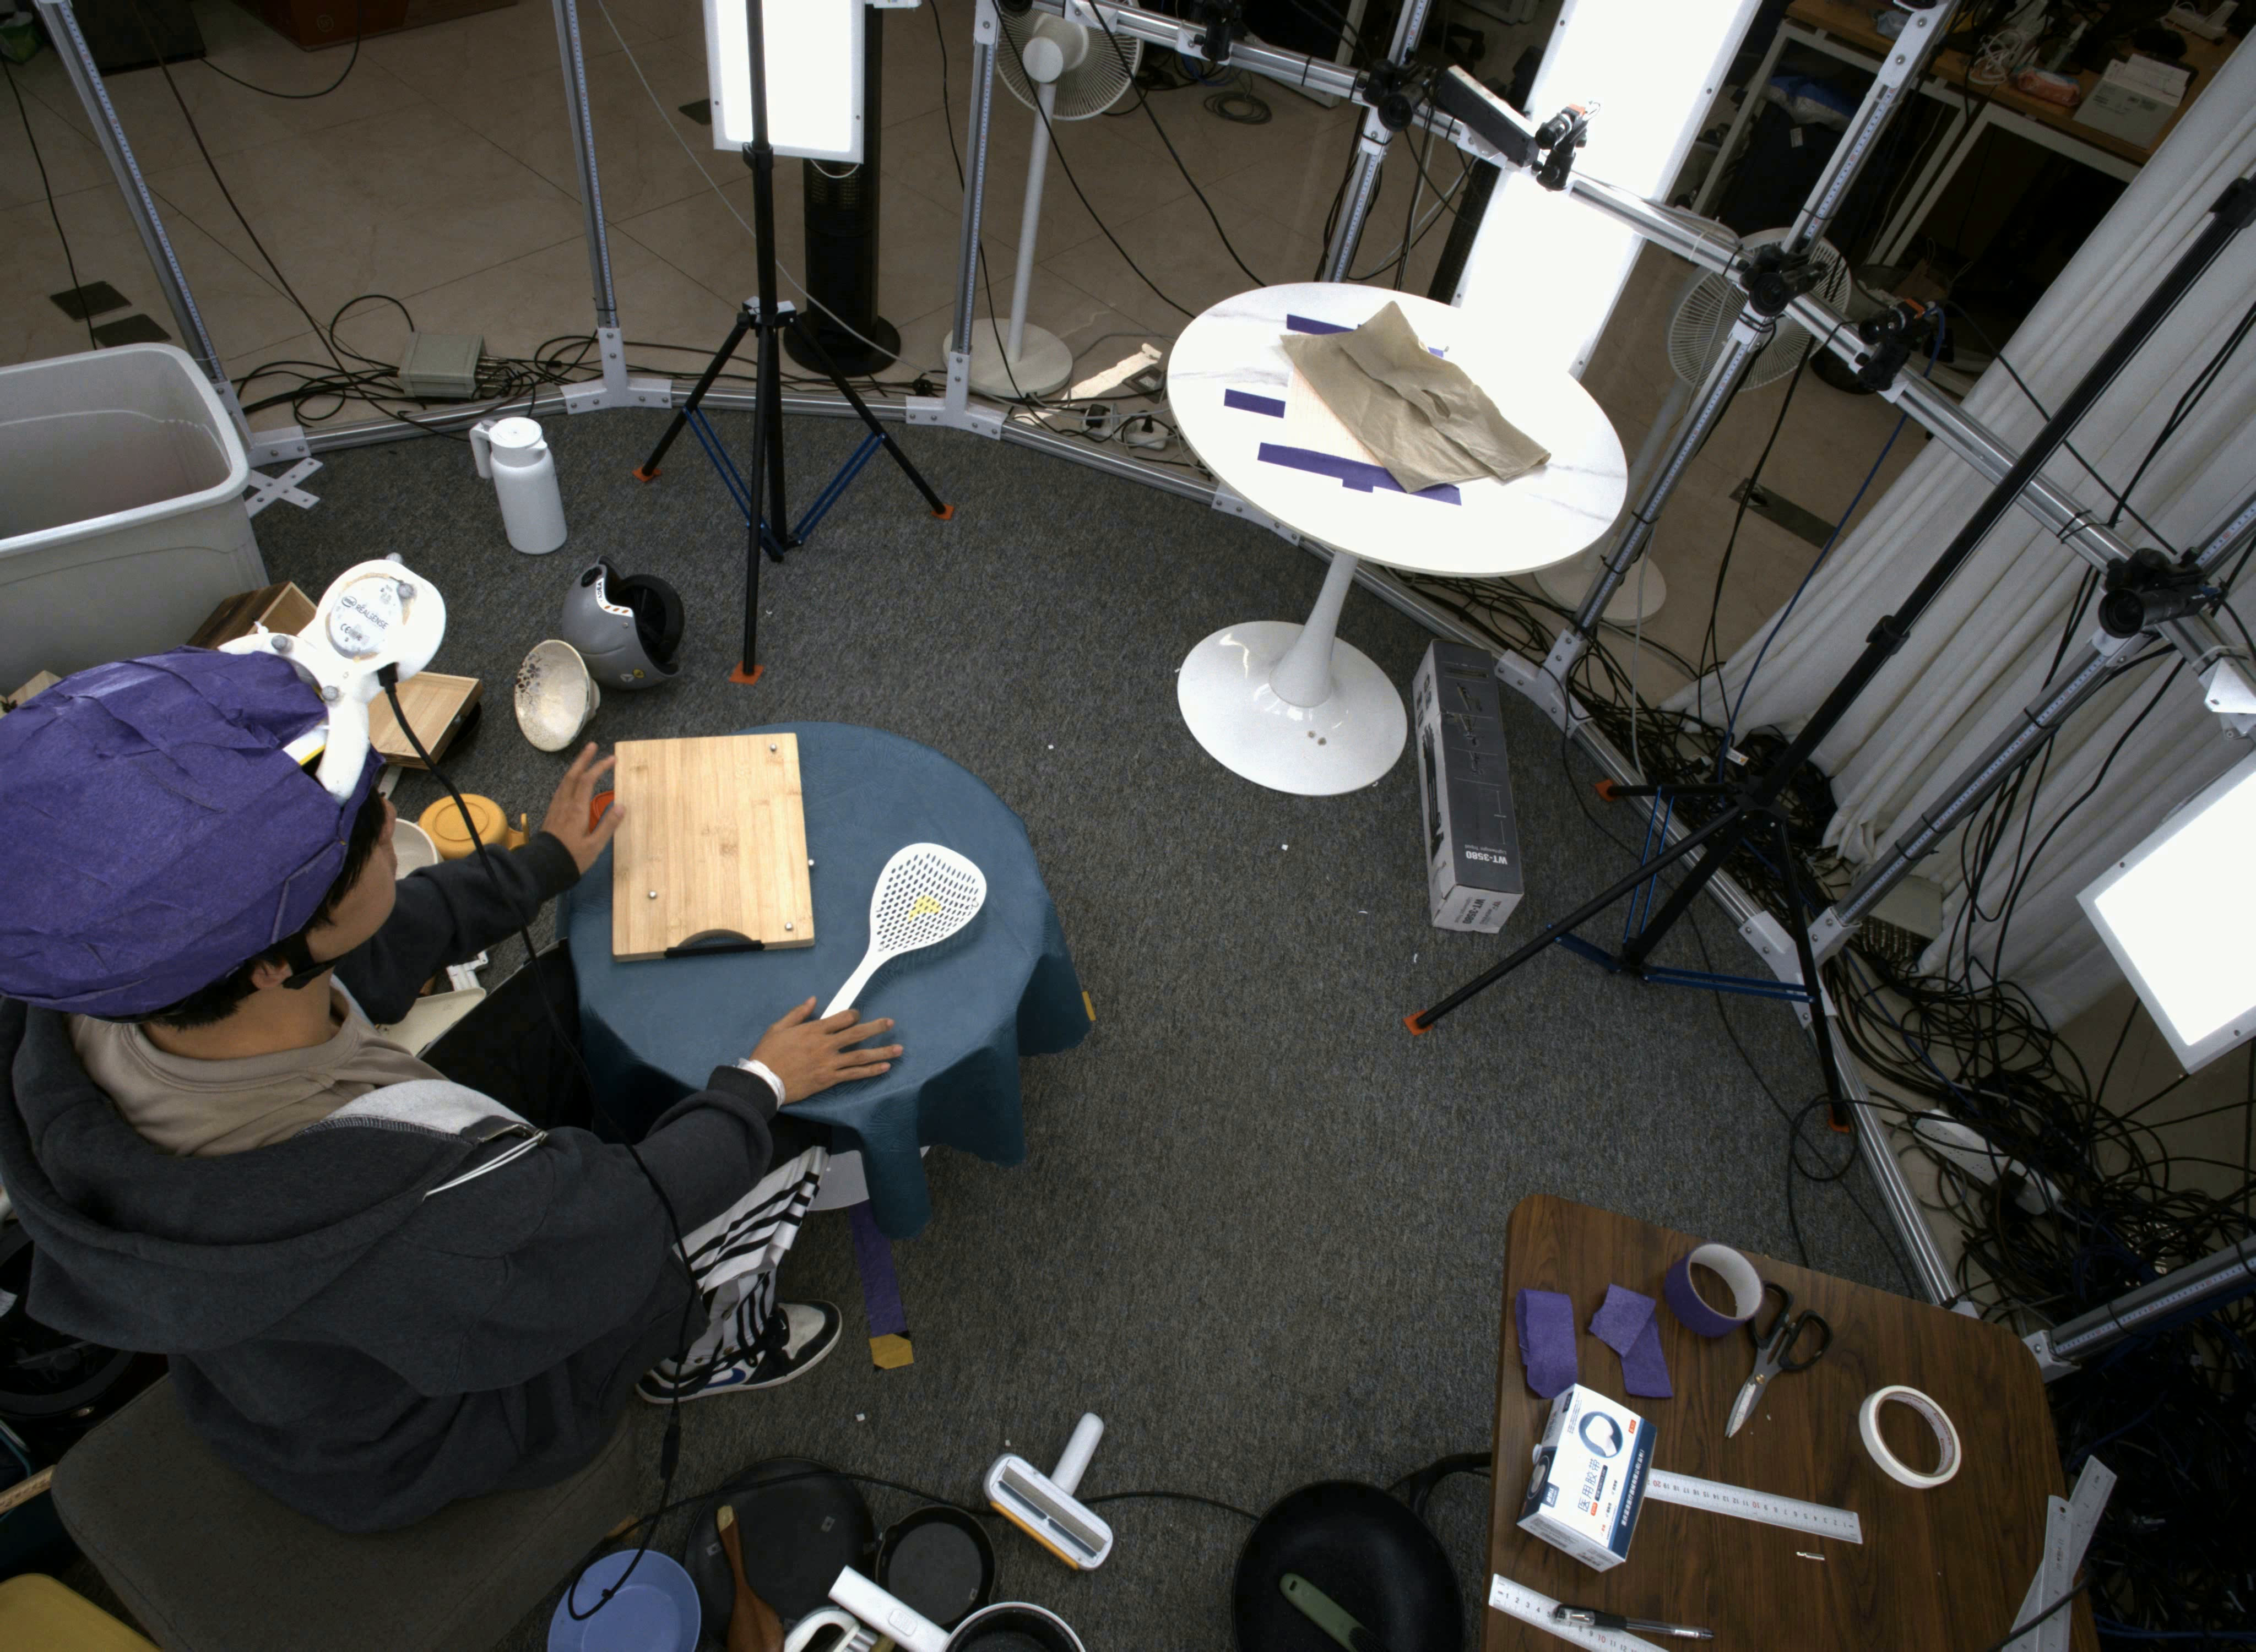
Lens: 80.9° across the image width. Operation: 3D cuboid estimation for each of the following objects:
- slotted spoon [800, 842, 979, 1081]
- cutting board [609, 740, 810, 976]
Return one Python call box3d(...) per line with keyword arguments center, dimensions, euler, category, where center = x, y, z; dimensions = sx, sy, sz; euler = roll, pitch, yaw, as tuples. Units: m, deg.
box3d(center=(-0.310, 0.162, 1.610), dimensions=(0.135, 0.051, 0.346), euler=(28, 52, 6), category="slotted spoon")
box3d(center=(-0.547, 0.028, 1.666), dimensions=(0.251, 0.024, 0.340), euler=(-5, 56, -18), category="cutting board")
